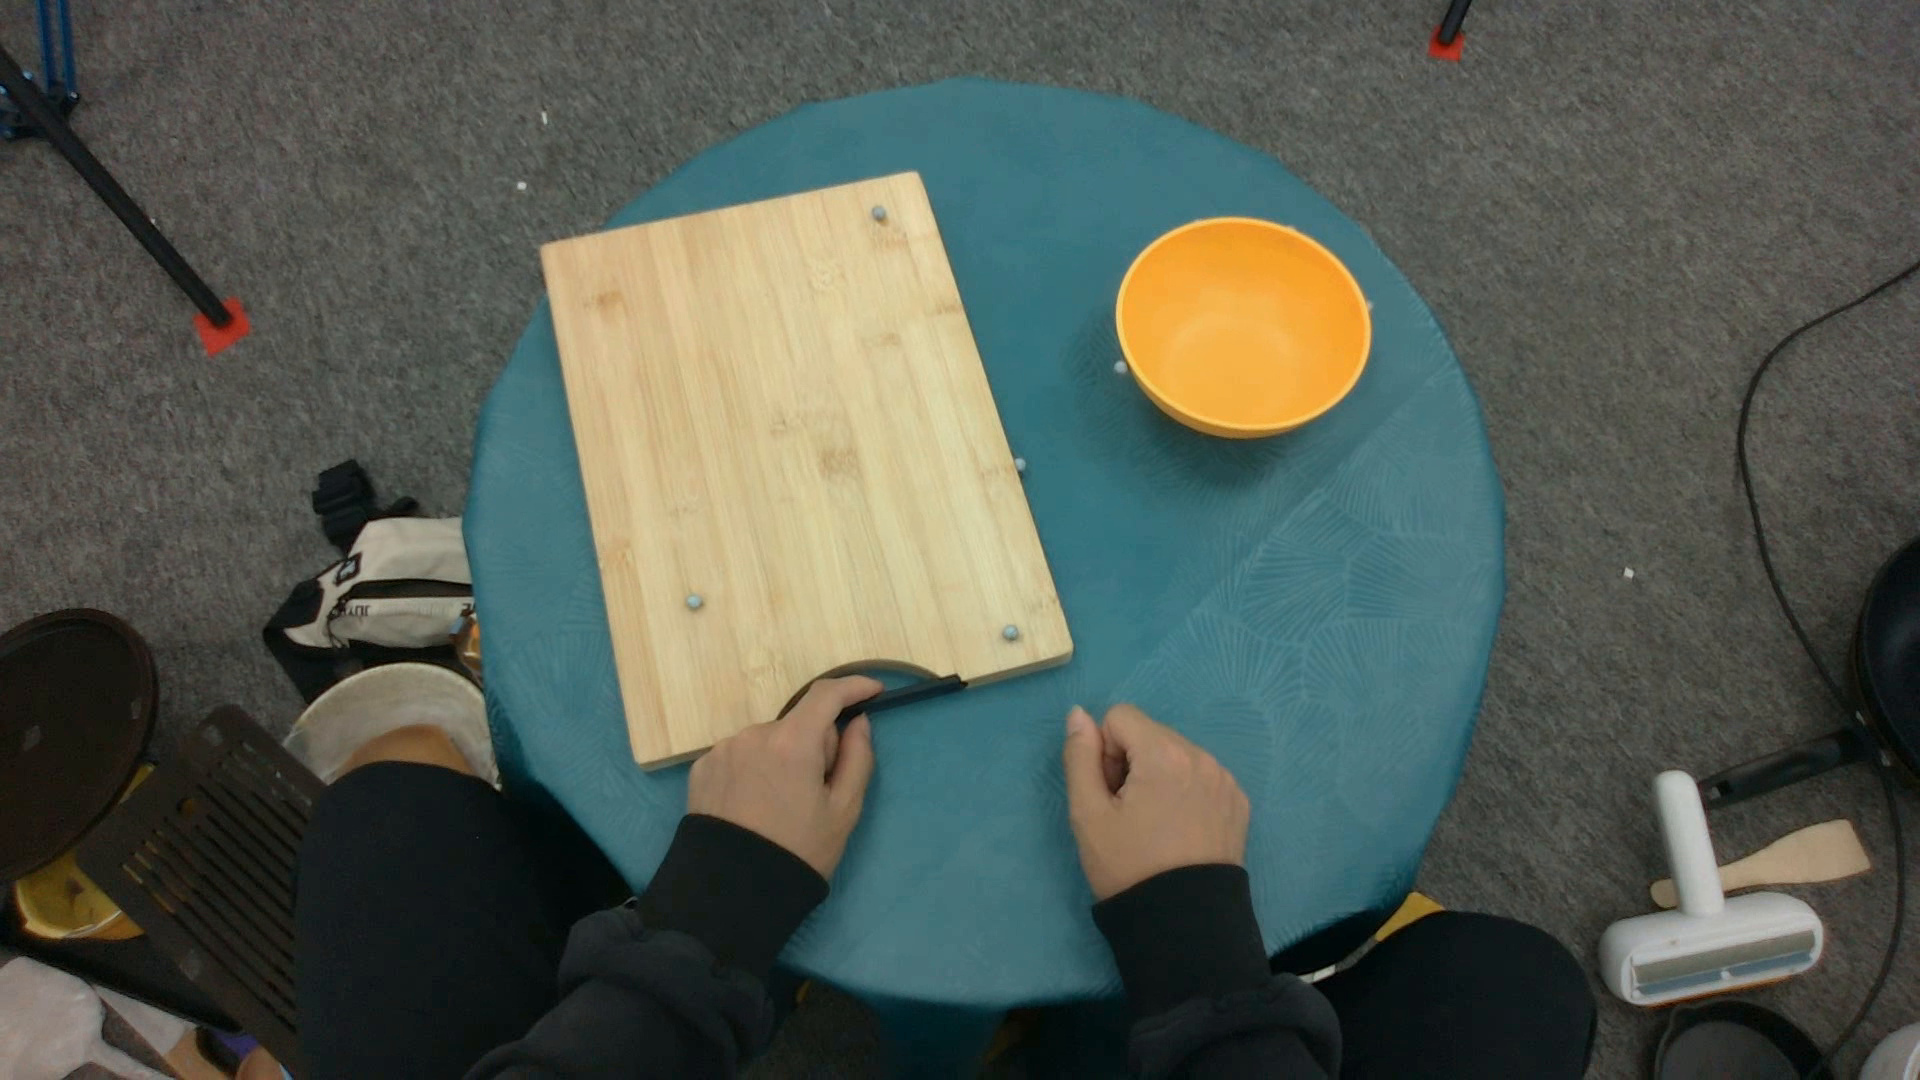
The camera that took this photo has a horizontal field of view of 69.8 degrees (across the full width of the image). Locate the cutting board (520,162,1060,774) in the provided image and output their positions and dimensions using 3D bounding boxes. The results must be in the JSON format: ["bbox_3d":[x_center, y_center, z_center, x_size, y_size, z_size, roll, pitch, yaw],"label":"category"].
[{"bbox_3d":[-0.107,-0.061,0.798,0.251,0.023,0.349,-15,67,-8],"label":"cutting board"}]

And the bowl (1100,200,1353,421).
[{"bbox_3d":[0.153,-0.125,0.814,0.145,0.060,0.146,0,67,0],"label":"bowl"}]
